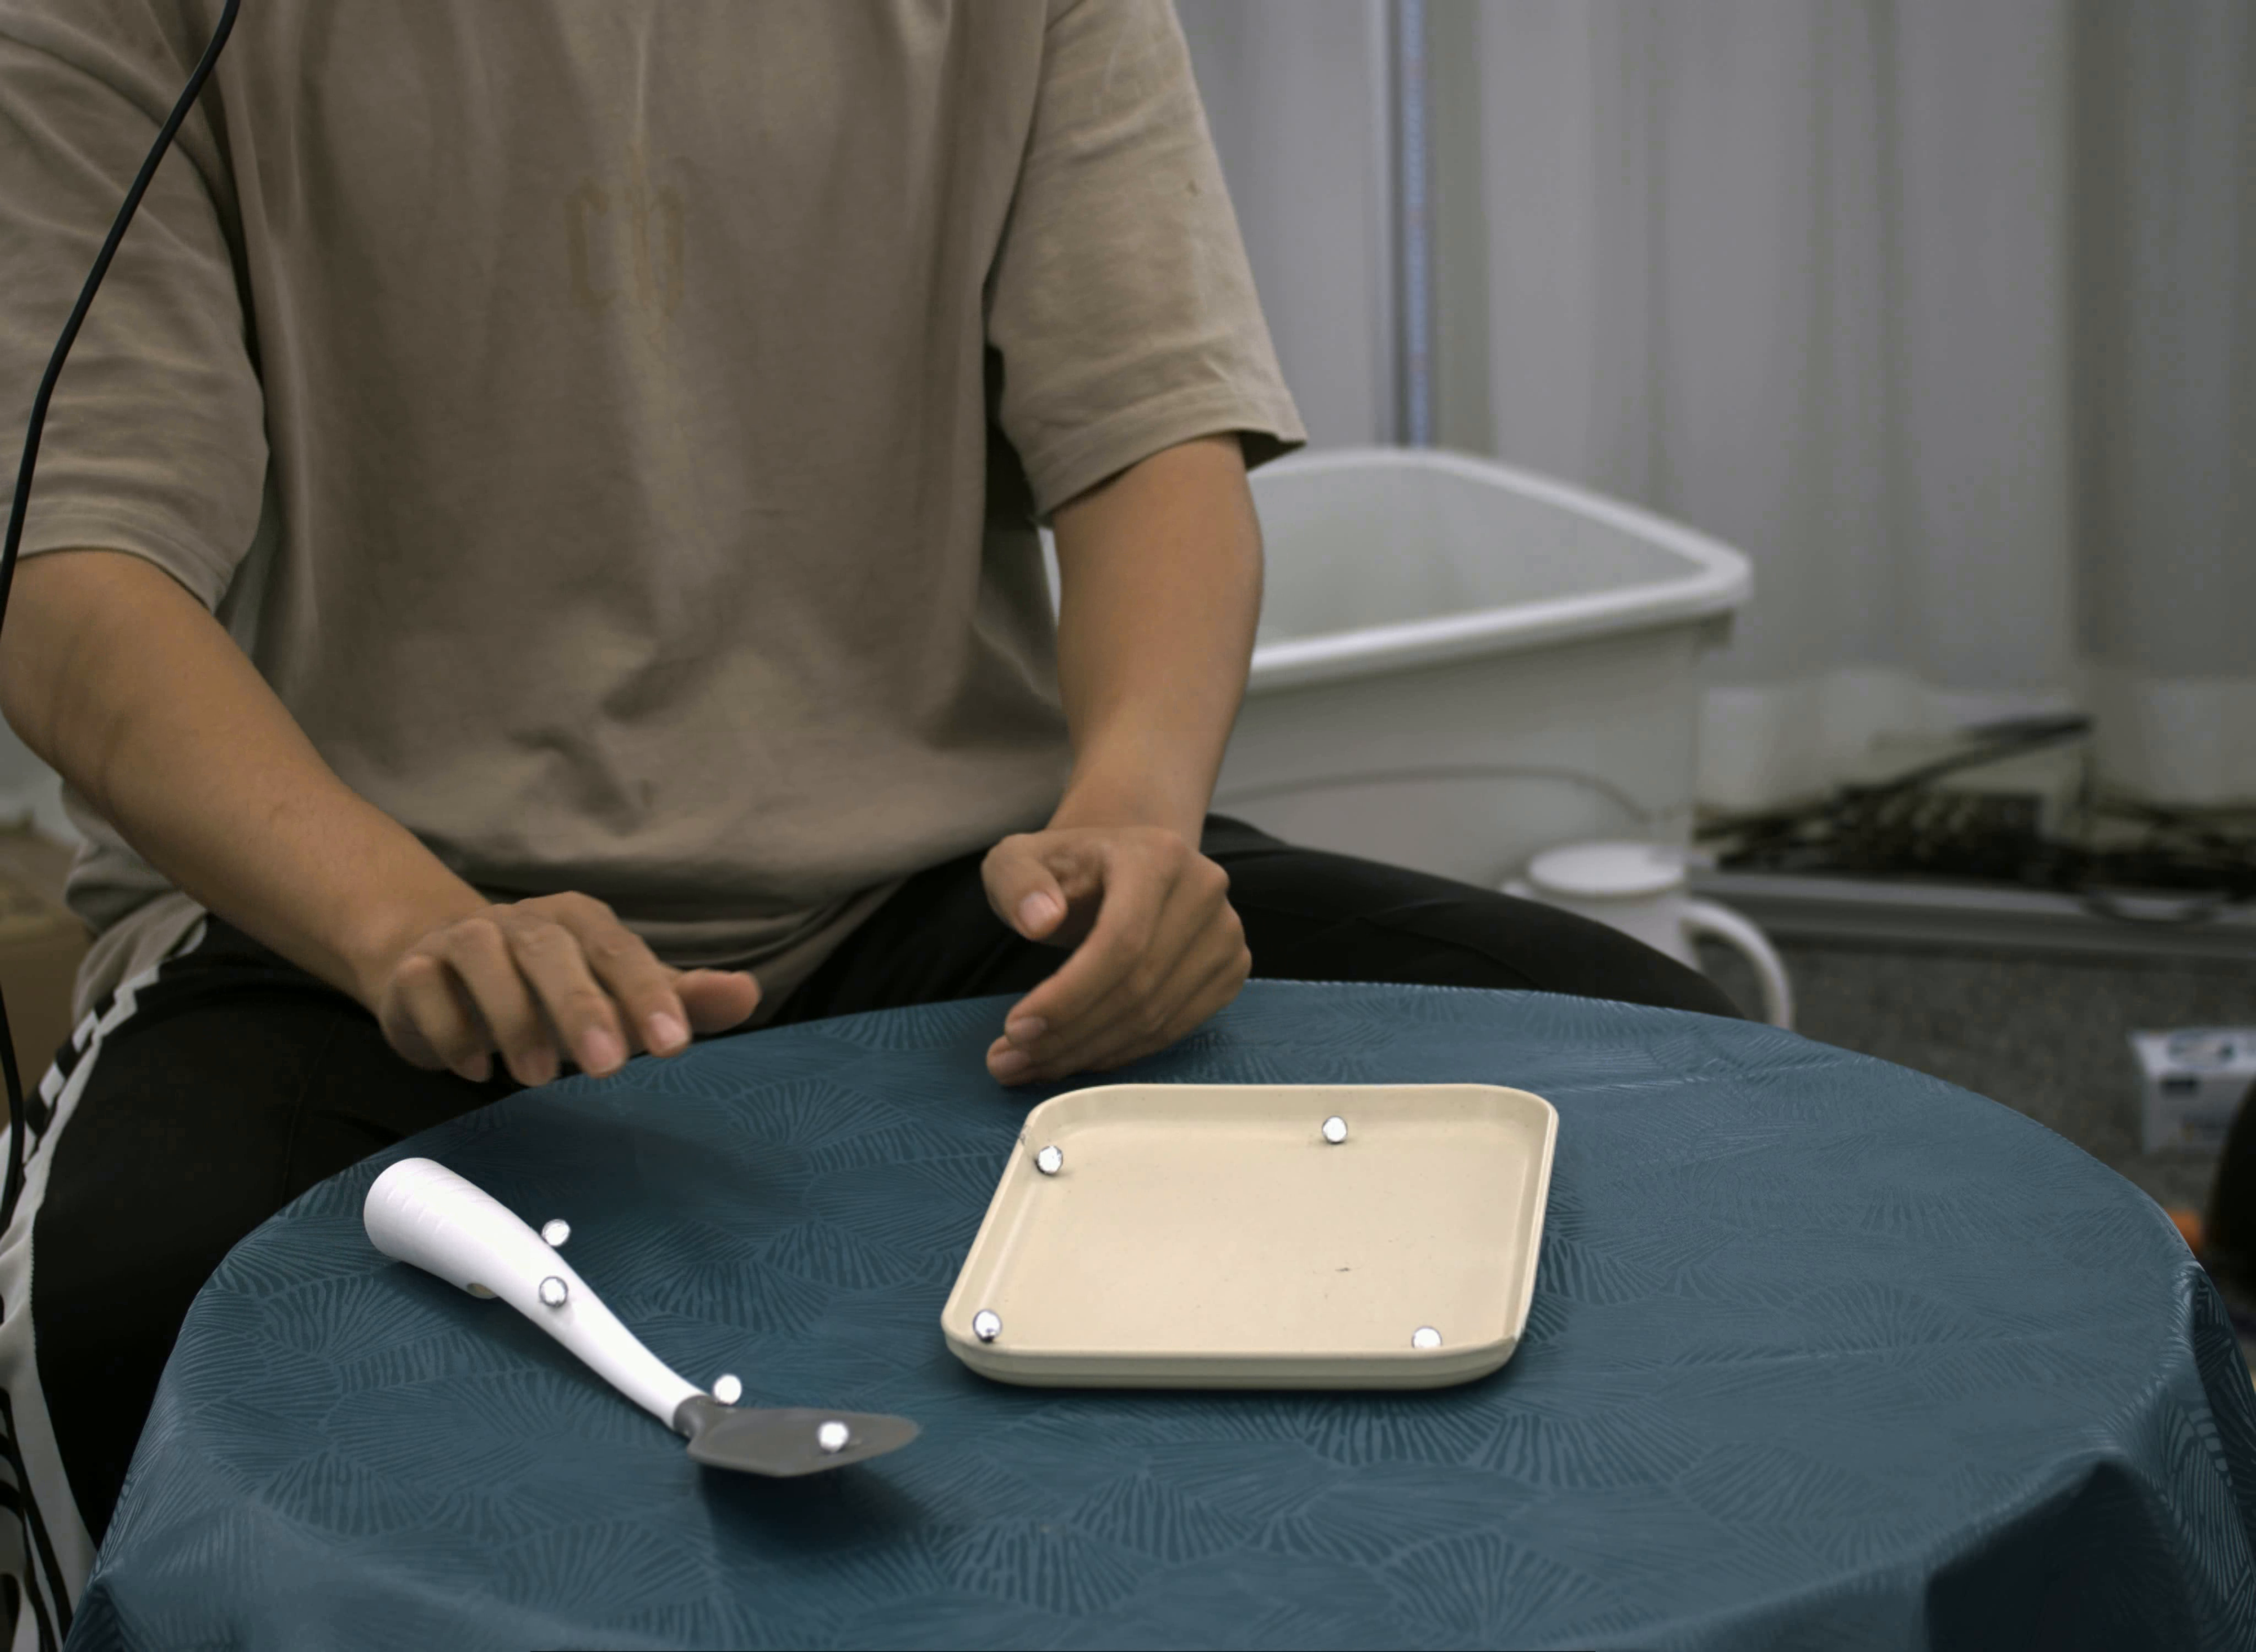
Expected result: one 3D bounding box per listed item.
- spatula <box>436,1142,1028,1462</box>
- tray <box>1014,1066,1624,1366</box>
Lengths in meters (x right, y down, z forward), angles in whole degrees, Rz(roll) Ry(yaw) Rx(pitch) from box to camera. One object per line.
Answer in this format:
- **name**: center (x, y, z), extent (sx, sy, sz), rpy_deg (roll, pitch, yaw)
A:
- **spatula**: center (-0.121, 0.140, 1.556), extent (0.058, 0.032, 0.290), rpy_deg (-7, 15, -31)
- **tray**: center (0.062, 0.116, 1.645), extent (0.171, 0.017, 0.241), rpy_deg (0, 15, 8)
